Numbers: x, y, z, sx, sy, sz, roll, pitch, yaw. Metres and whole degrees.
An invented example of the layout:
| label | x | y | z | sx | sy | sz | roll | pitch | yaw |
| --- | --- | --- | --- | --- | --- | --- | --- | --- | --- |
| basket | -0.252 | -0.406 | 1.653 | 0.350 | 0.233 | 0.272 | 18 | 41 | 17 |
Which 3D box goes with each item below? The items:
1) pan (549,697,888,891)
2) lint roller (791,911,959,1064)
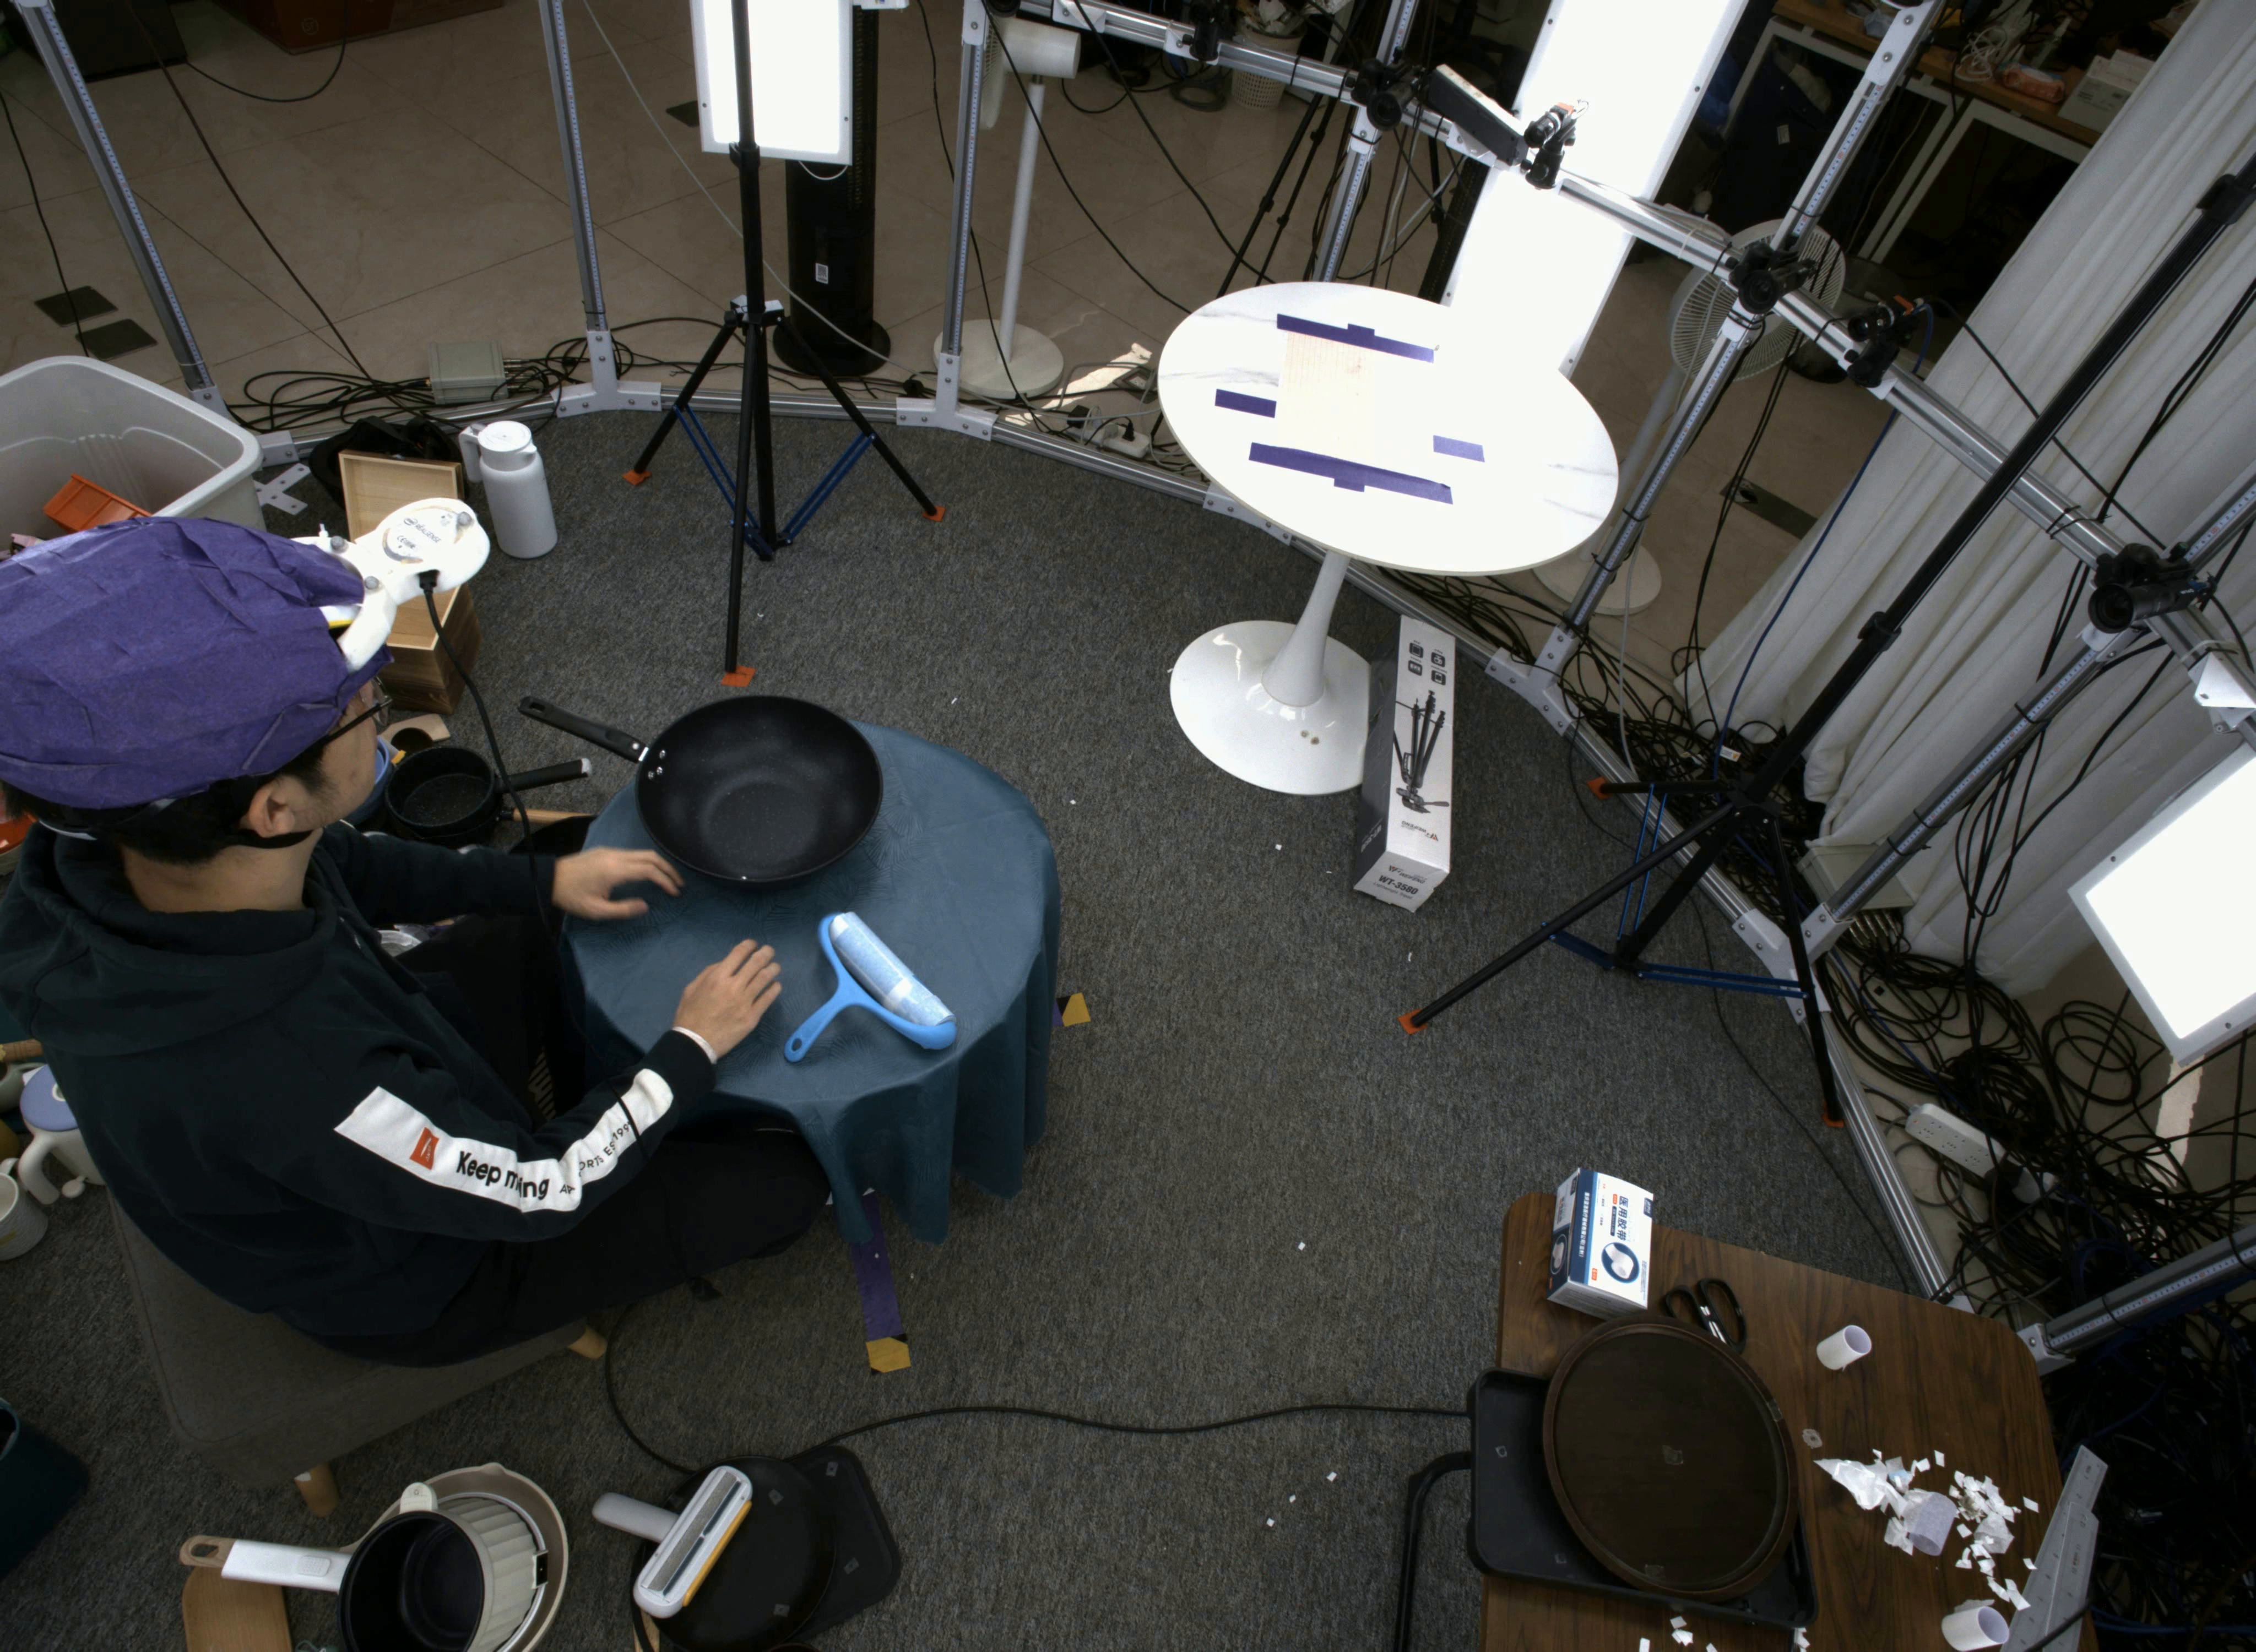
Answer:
| label | x | y | z | sx | sy | sz | roll | pitch | yaw |
| --- | --- | --- | --- | --- | --- | --- | --- | --- | --- |
| pan | -0.547 | -0.058 | 1.672 | 0.474 | 0.114 | 0.306 | 16 | 50 | -3 |
| lint roller | -0.330 | 0.213 | 1.561 | 0.225 | 0.069 | 0.180 | 40 | 54 | 13 |
